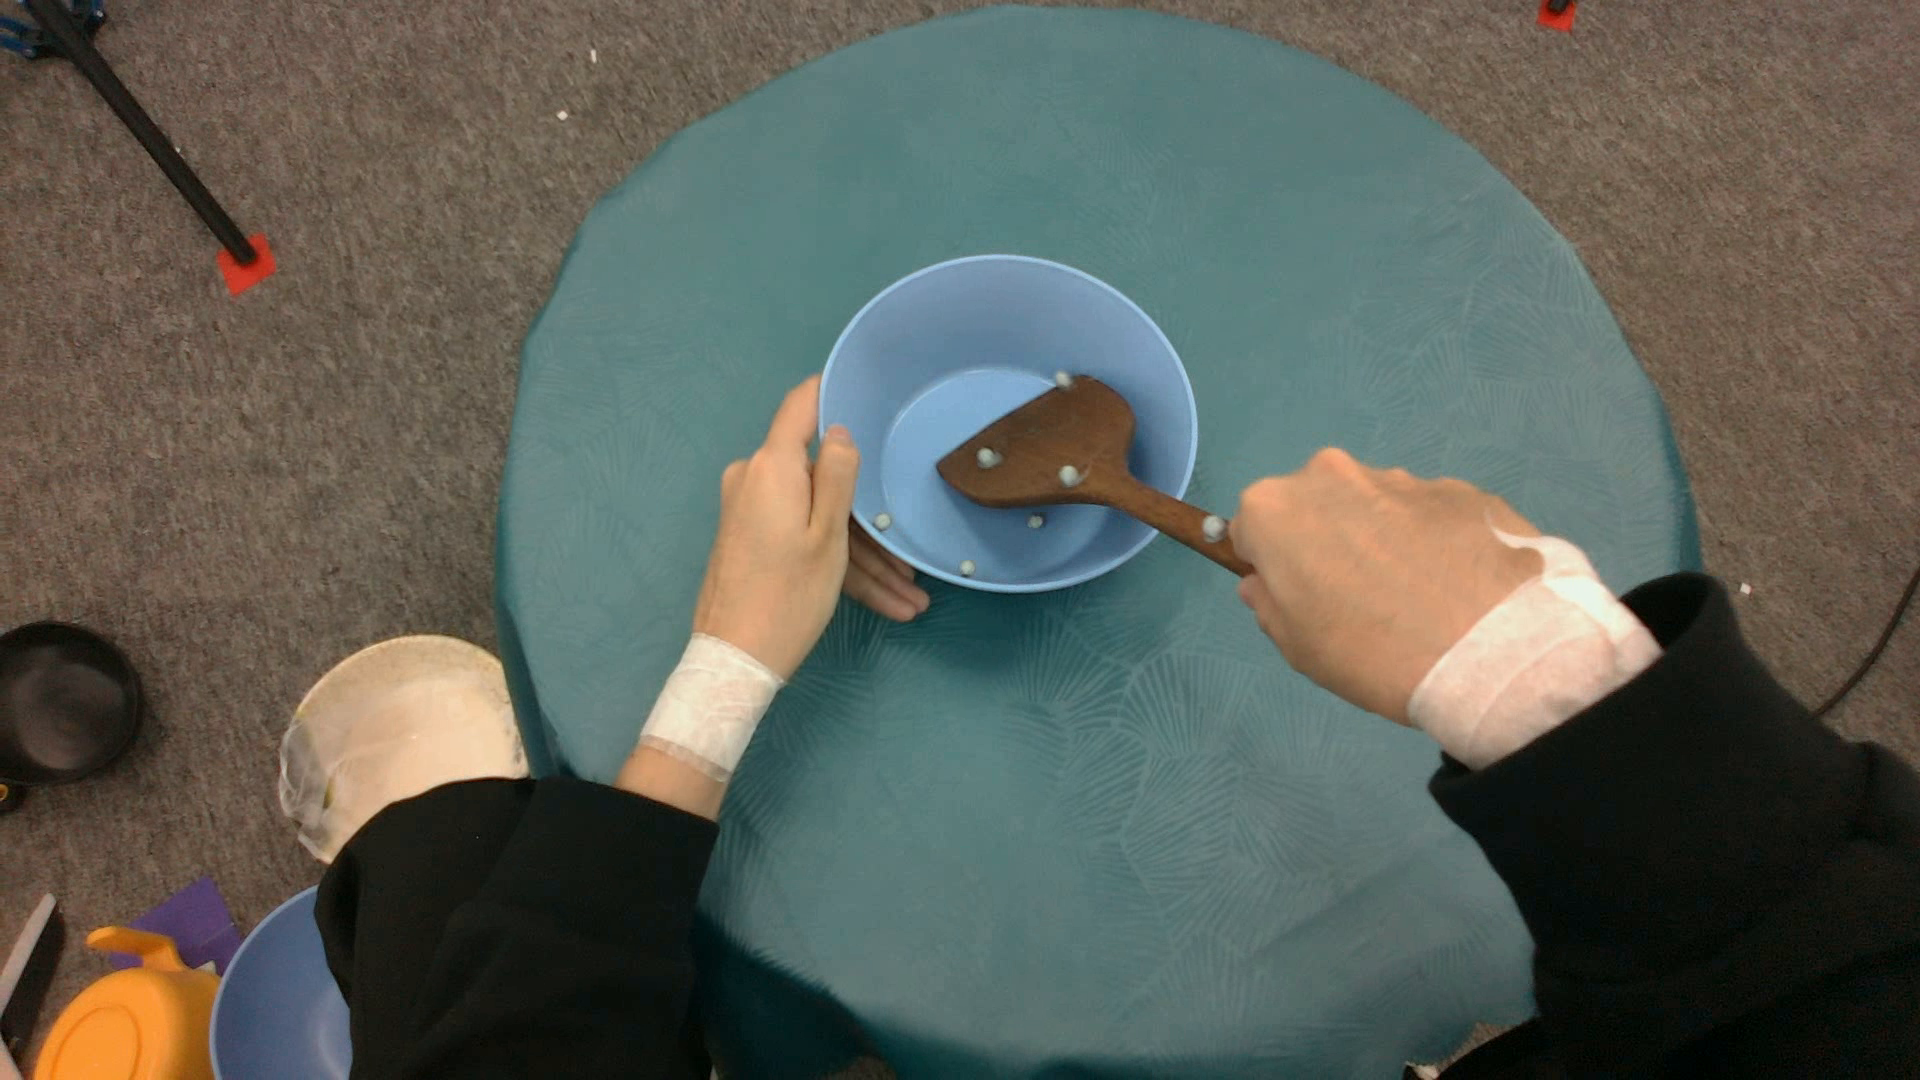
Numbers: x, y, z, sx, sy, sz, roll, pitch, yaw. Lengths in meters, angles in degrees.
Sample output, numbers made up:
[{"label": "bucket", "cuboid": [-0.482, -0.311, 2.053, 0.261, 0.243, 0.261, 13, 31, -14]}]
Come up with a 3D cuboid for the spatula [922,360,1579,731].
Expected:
[{"label": "spatula", "cuboid": [0.087, -0.012, 0.530, 0.096, 0.016, 0.386, -32, 26, -11]}]

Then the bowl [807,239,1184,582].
[{"label": "bowl", "cuboid": [0.015, -0.053, 0.664, 0.176, 0.070, 0.176, 2, 68, -4]}]
